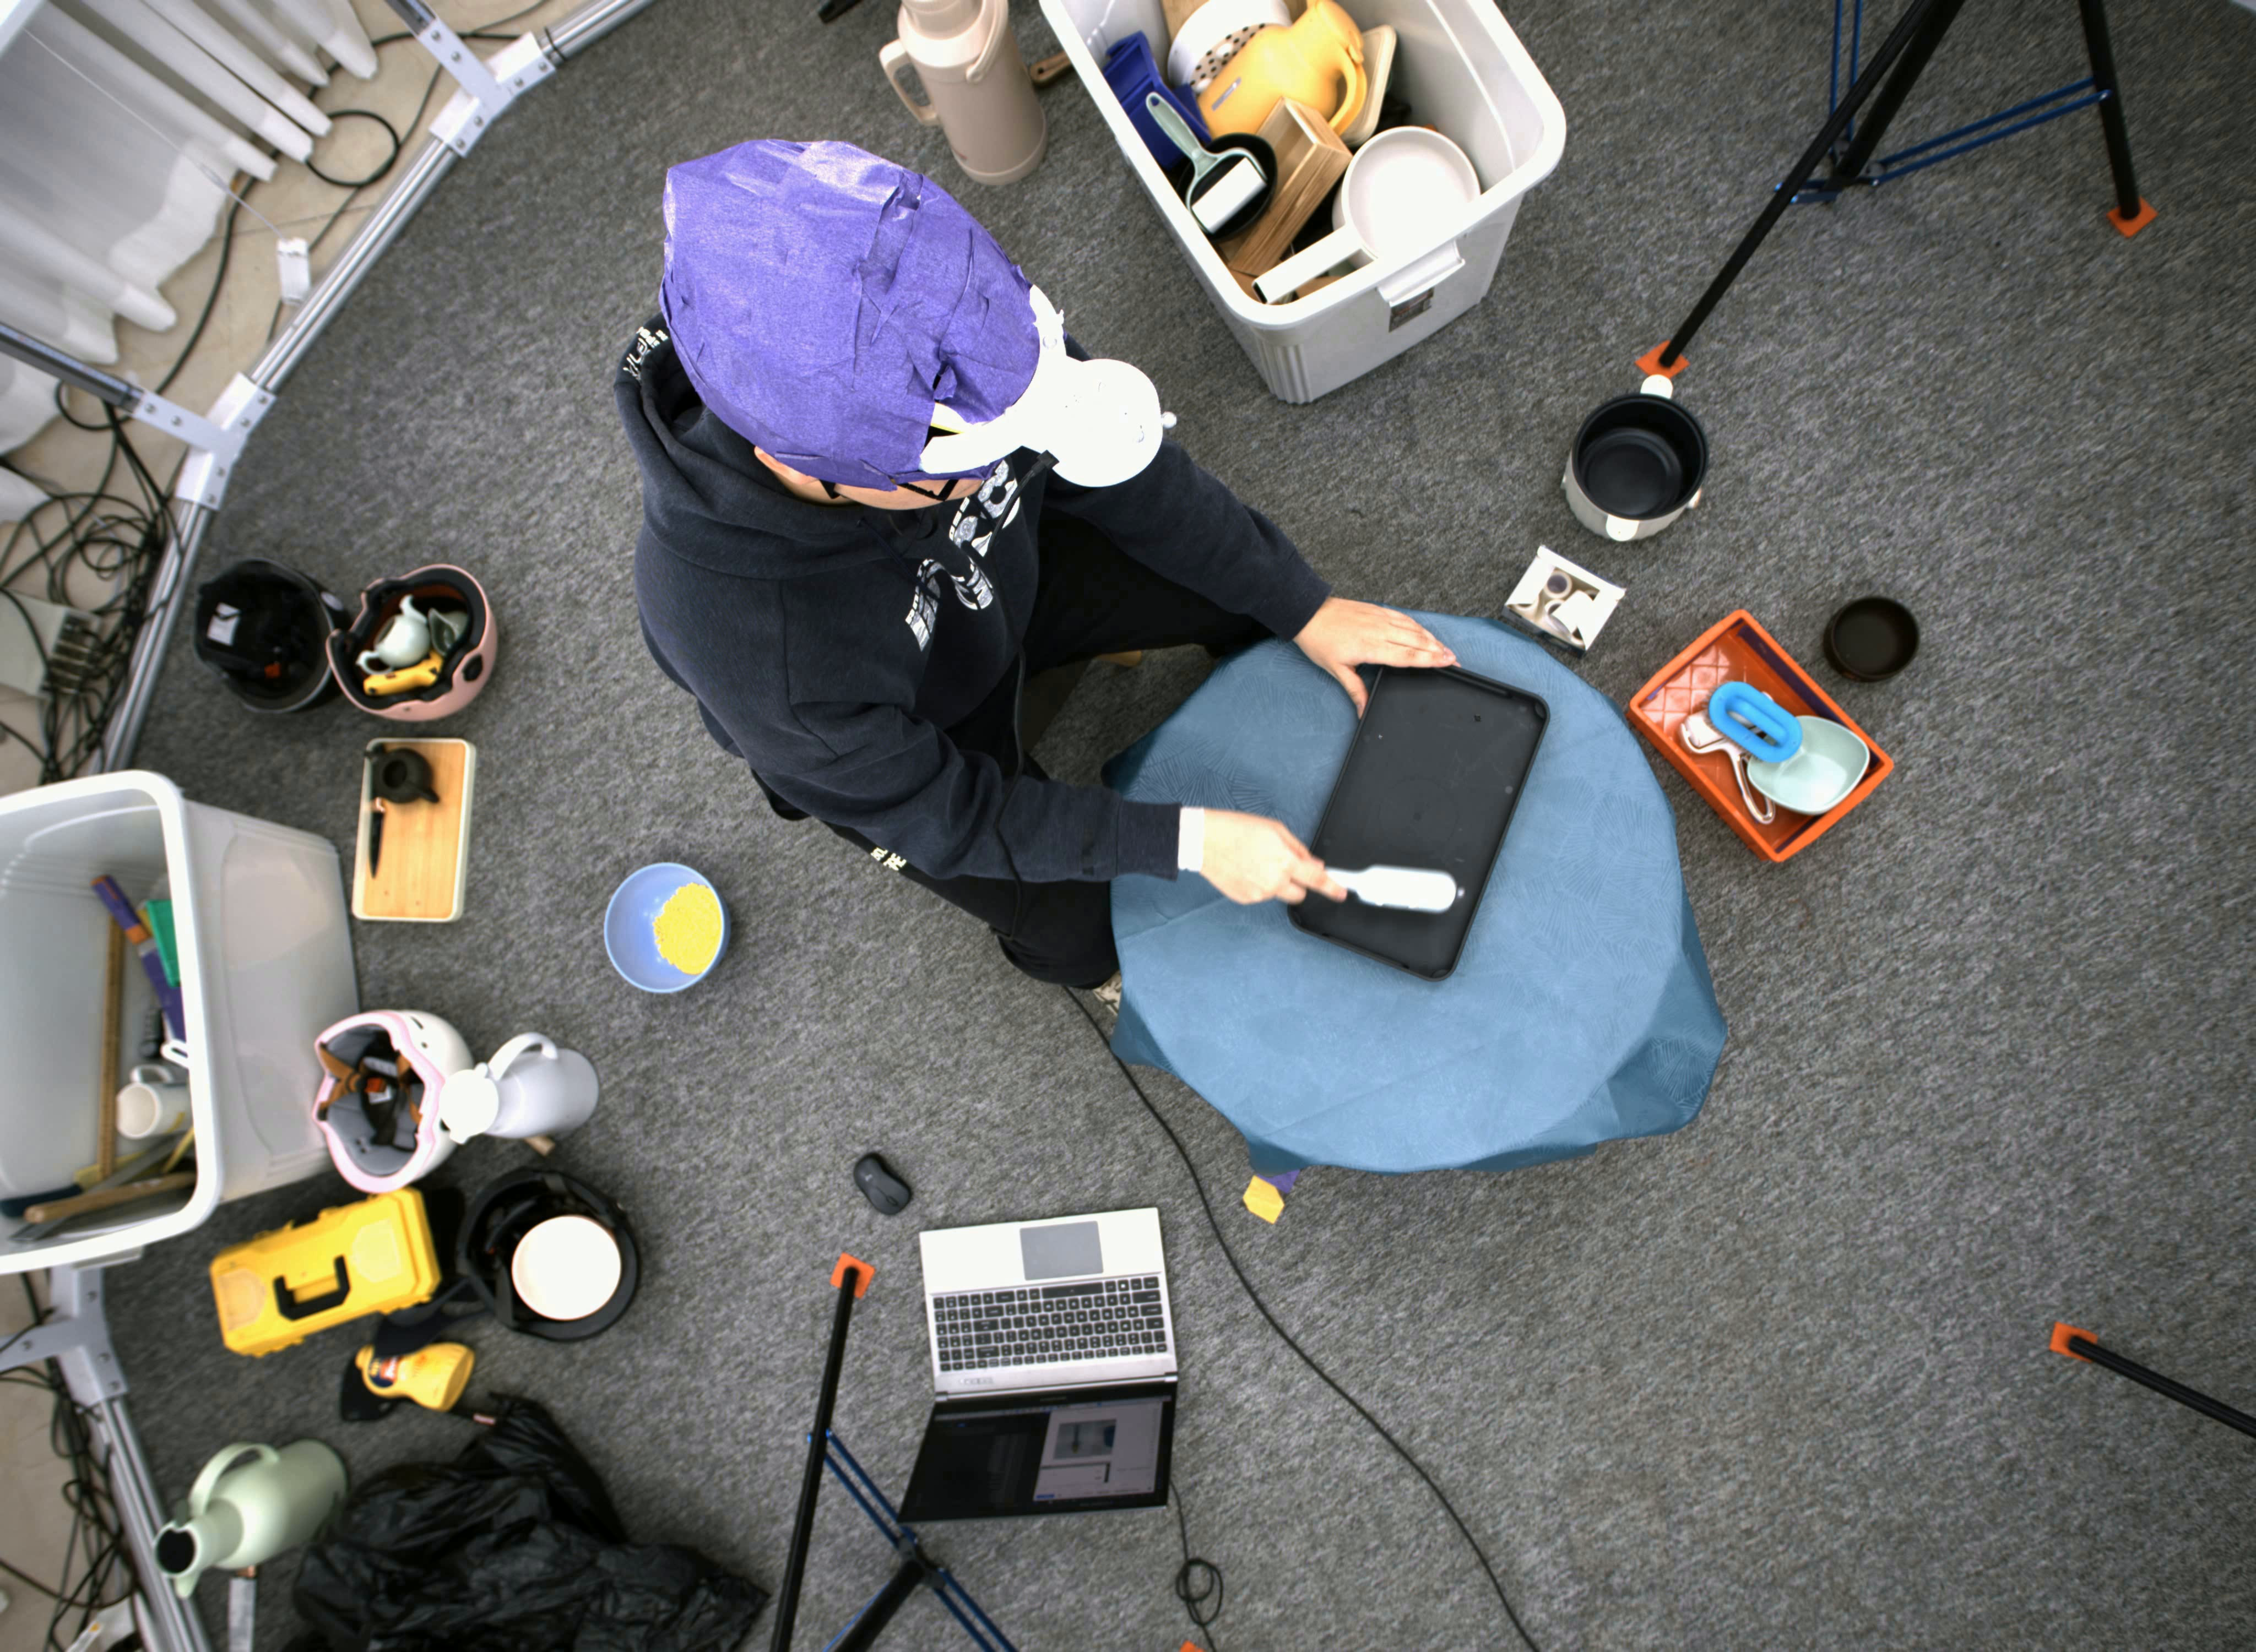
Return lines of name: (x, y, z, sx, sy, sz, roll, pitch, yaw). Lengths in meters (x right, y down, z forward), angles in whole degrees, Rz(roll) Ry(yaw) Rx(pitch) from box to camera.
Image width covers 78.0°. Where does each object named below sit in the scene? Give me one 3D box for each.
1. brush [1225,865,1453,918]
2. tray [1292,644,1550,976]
brush: (0.212, 0.064, 1.397, 0.229, 0.050, 0.037, 7, 81, 1)
tray: (0.306, -0.019, 1.441, 0.184, 0.037, 0.318, 20, 91, 12)
